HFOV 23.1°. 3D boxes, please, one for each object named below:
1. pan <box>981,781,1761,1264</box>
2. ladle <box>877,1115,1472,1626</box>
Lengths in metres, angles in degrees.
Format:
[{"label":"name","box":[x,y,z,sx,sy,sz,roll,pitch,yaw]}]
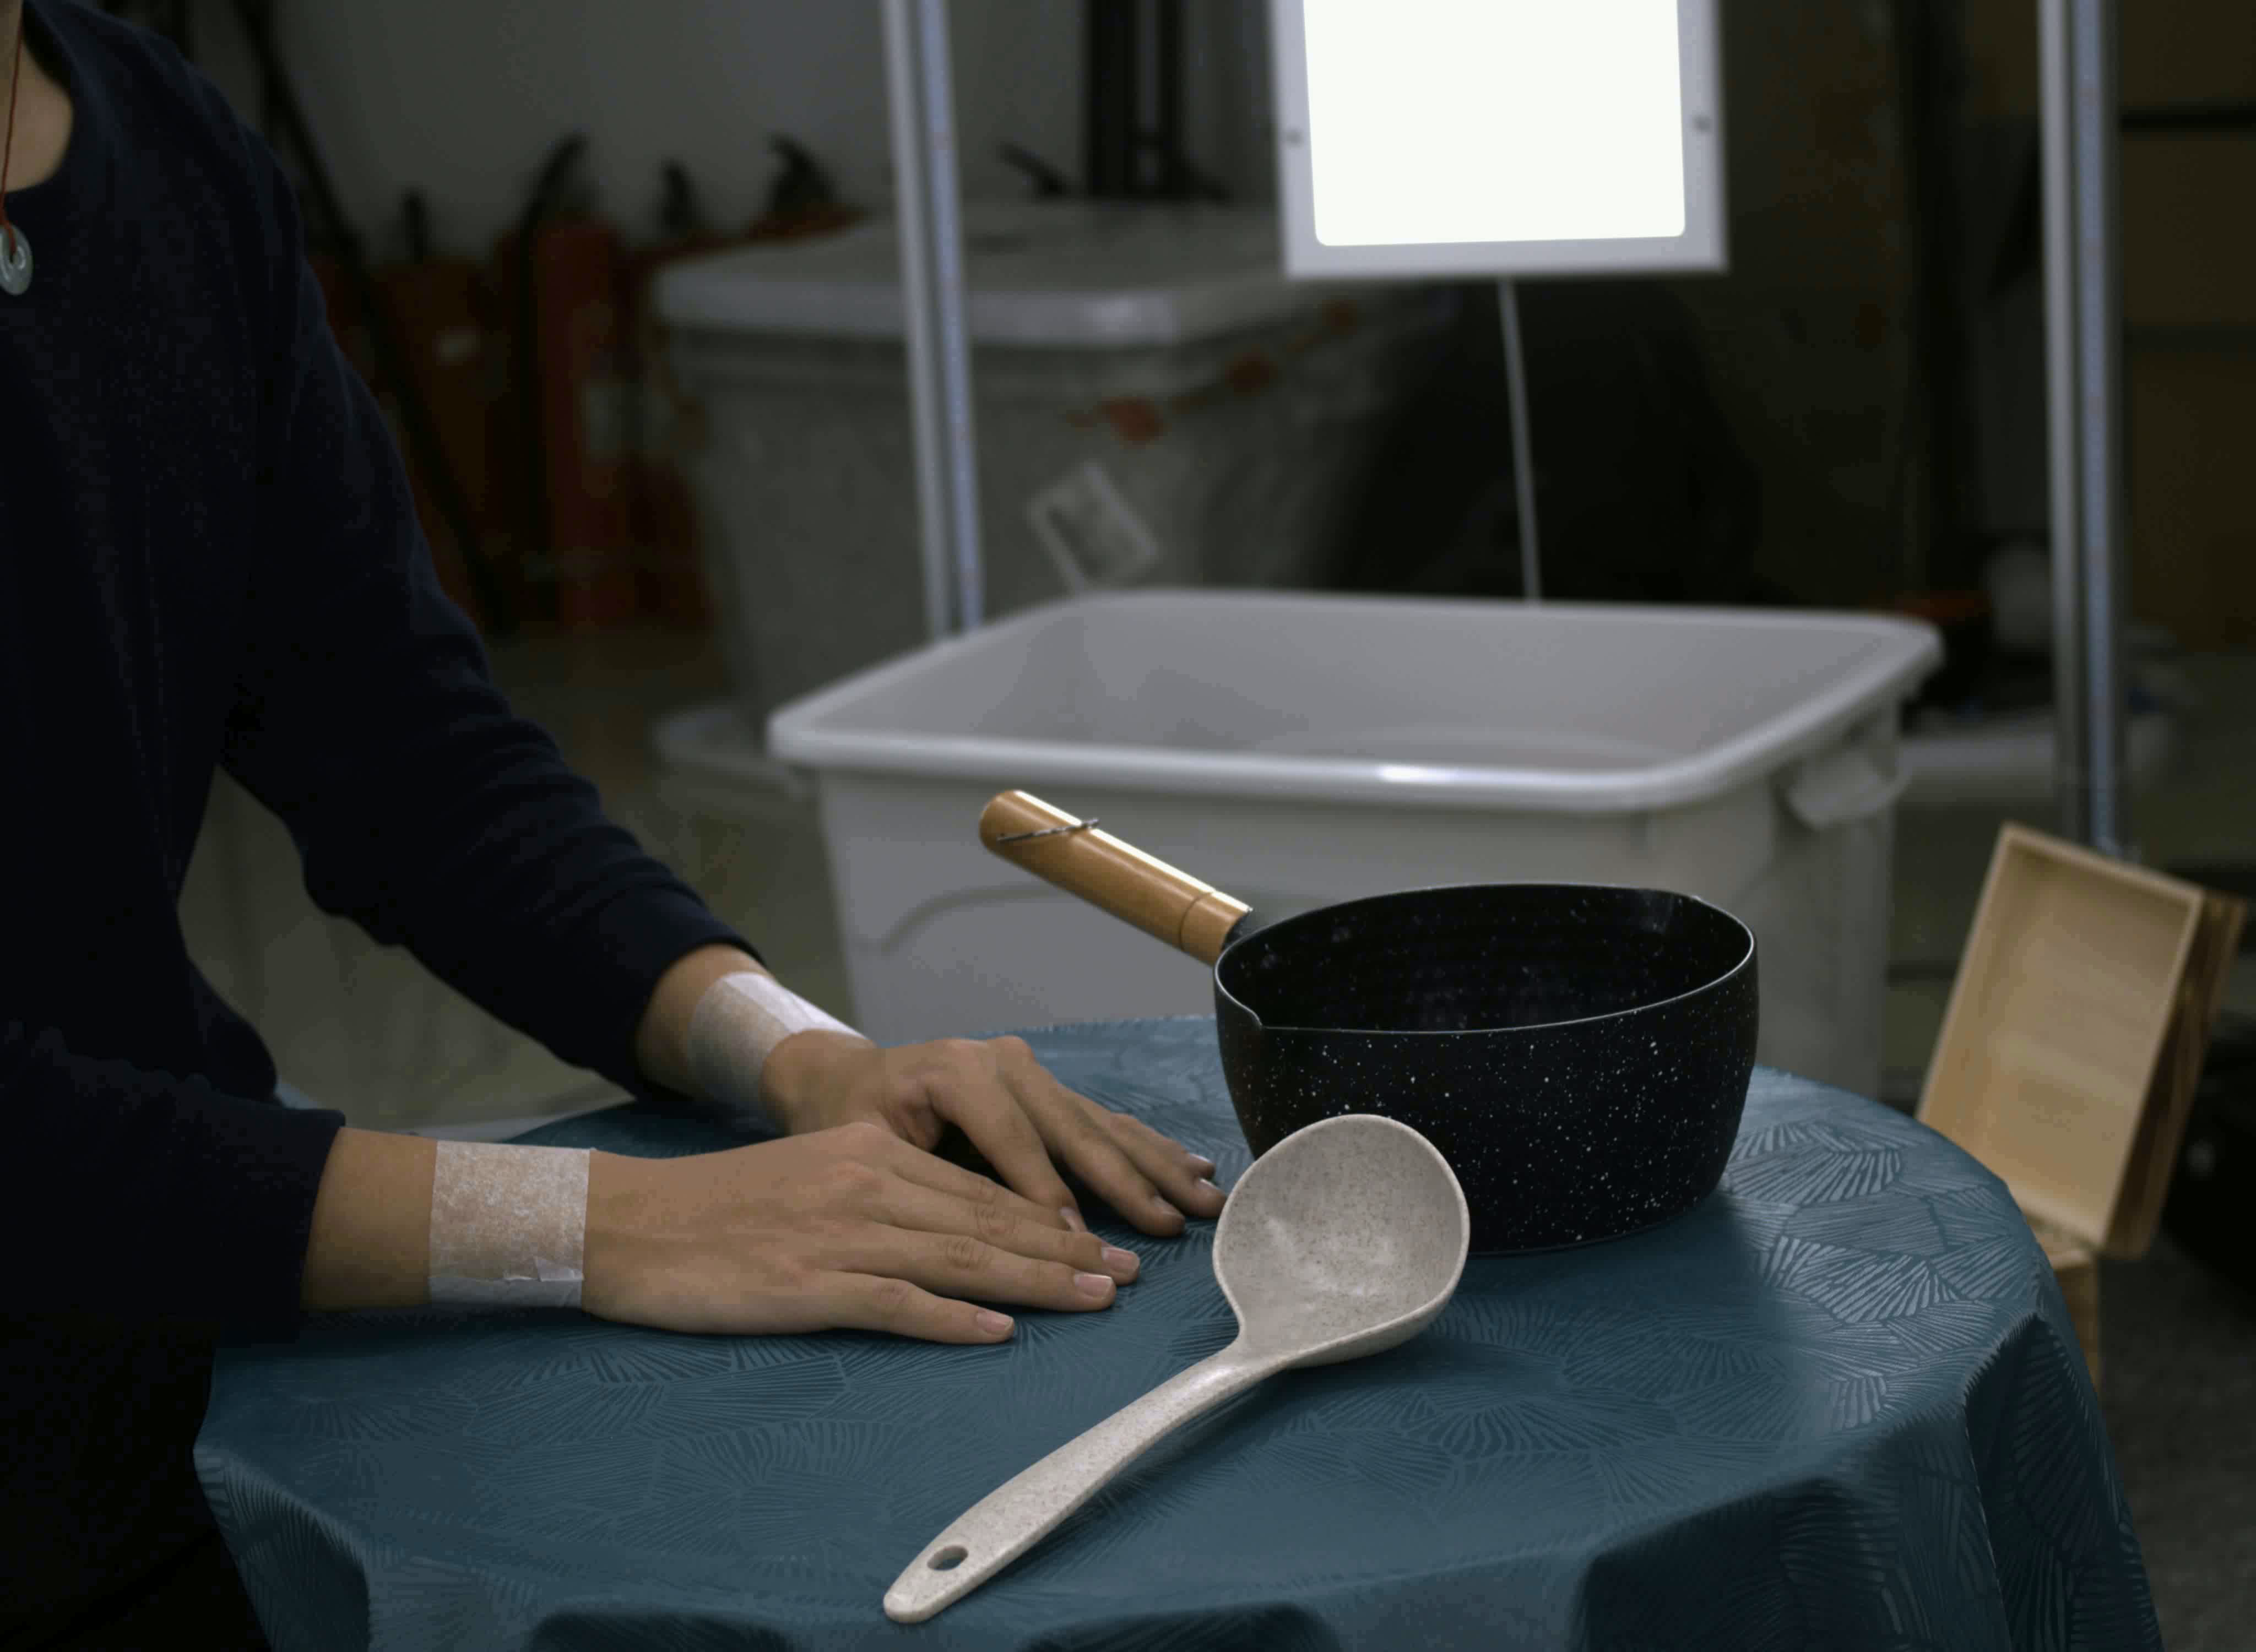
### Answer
[{"label":"pan","box":[0.068,0.061,1.910,0.202,0.108,0.350,-18,20,-39]},{"label":"ladle","box":[0.009,0.156,1.632,0.091,0.070,0.268,12,21,32]}]
